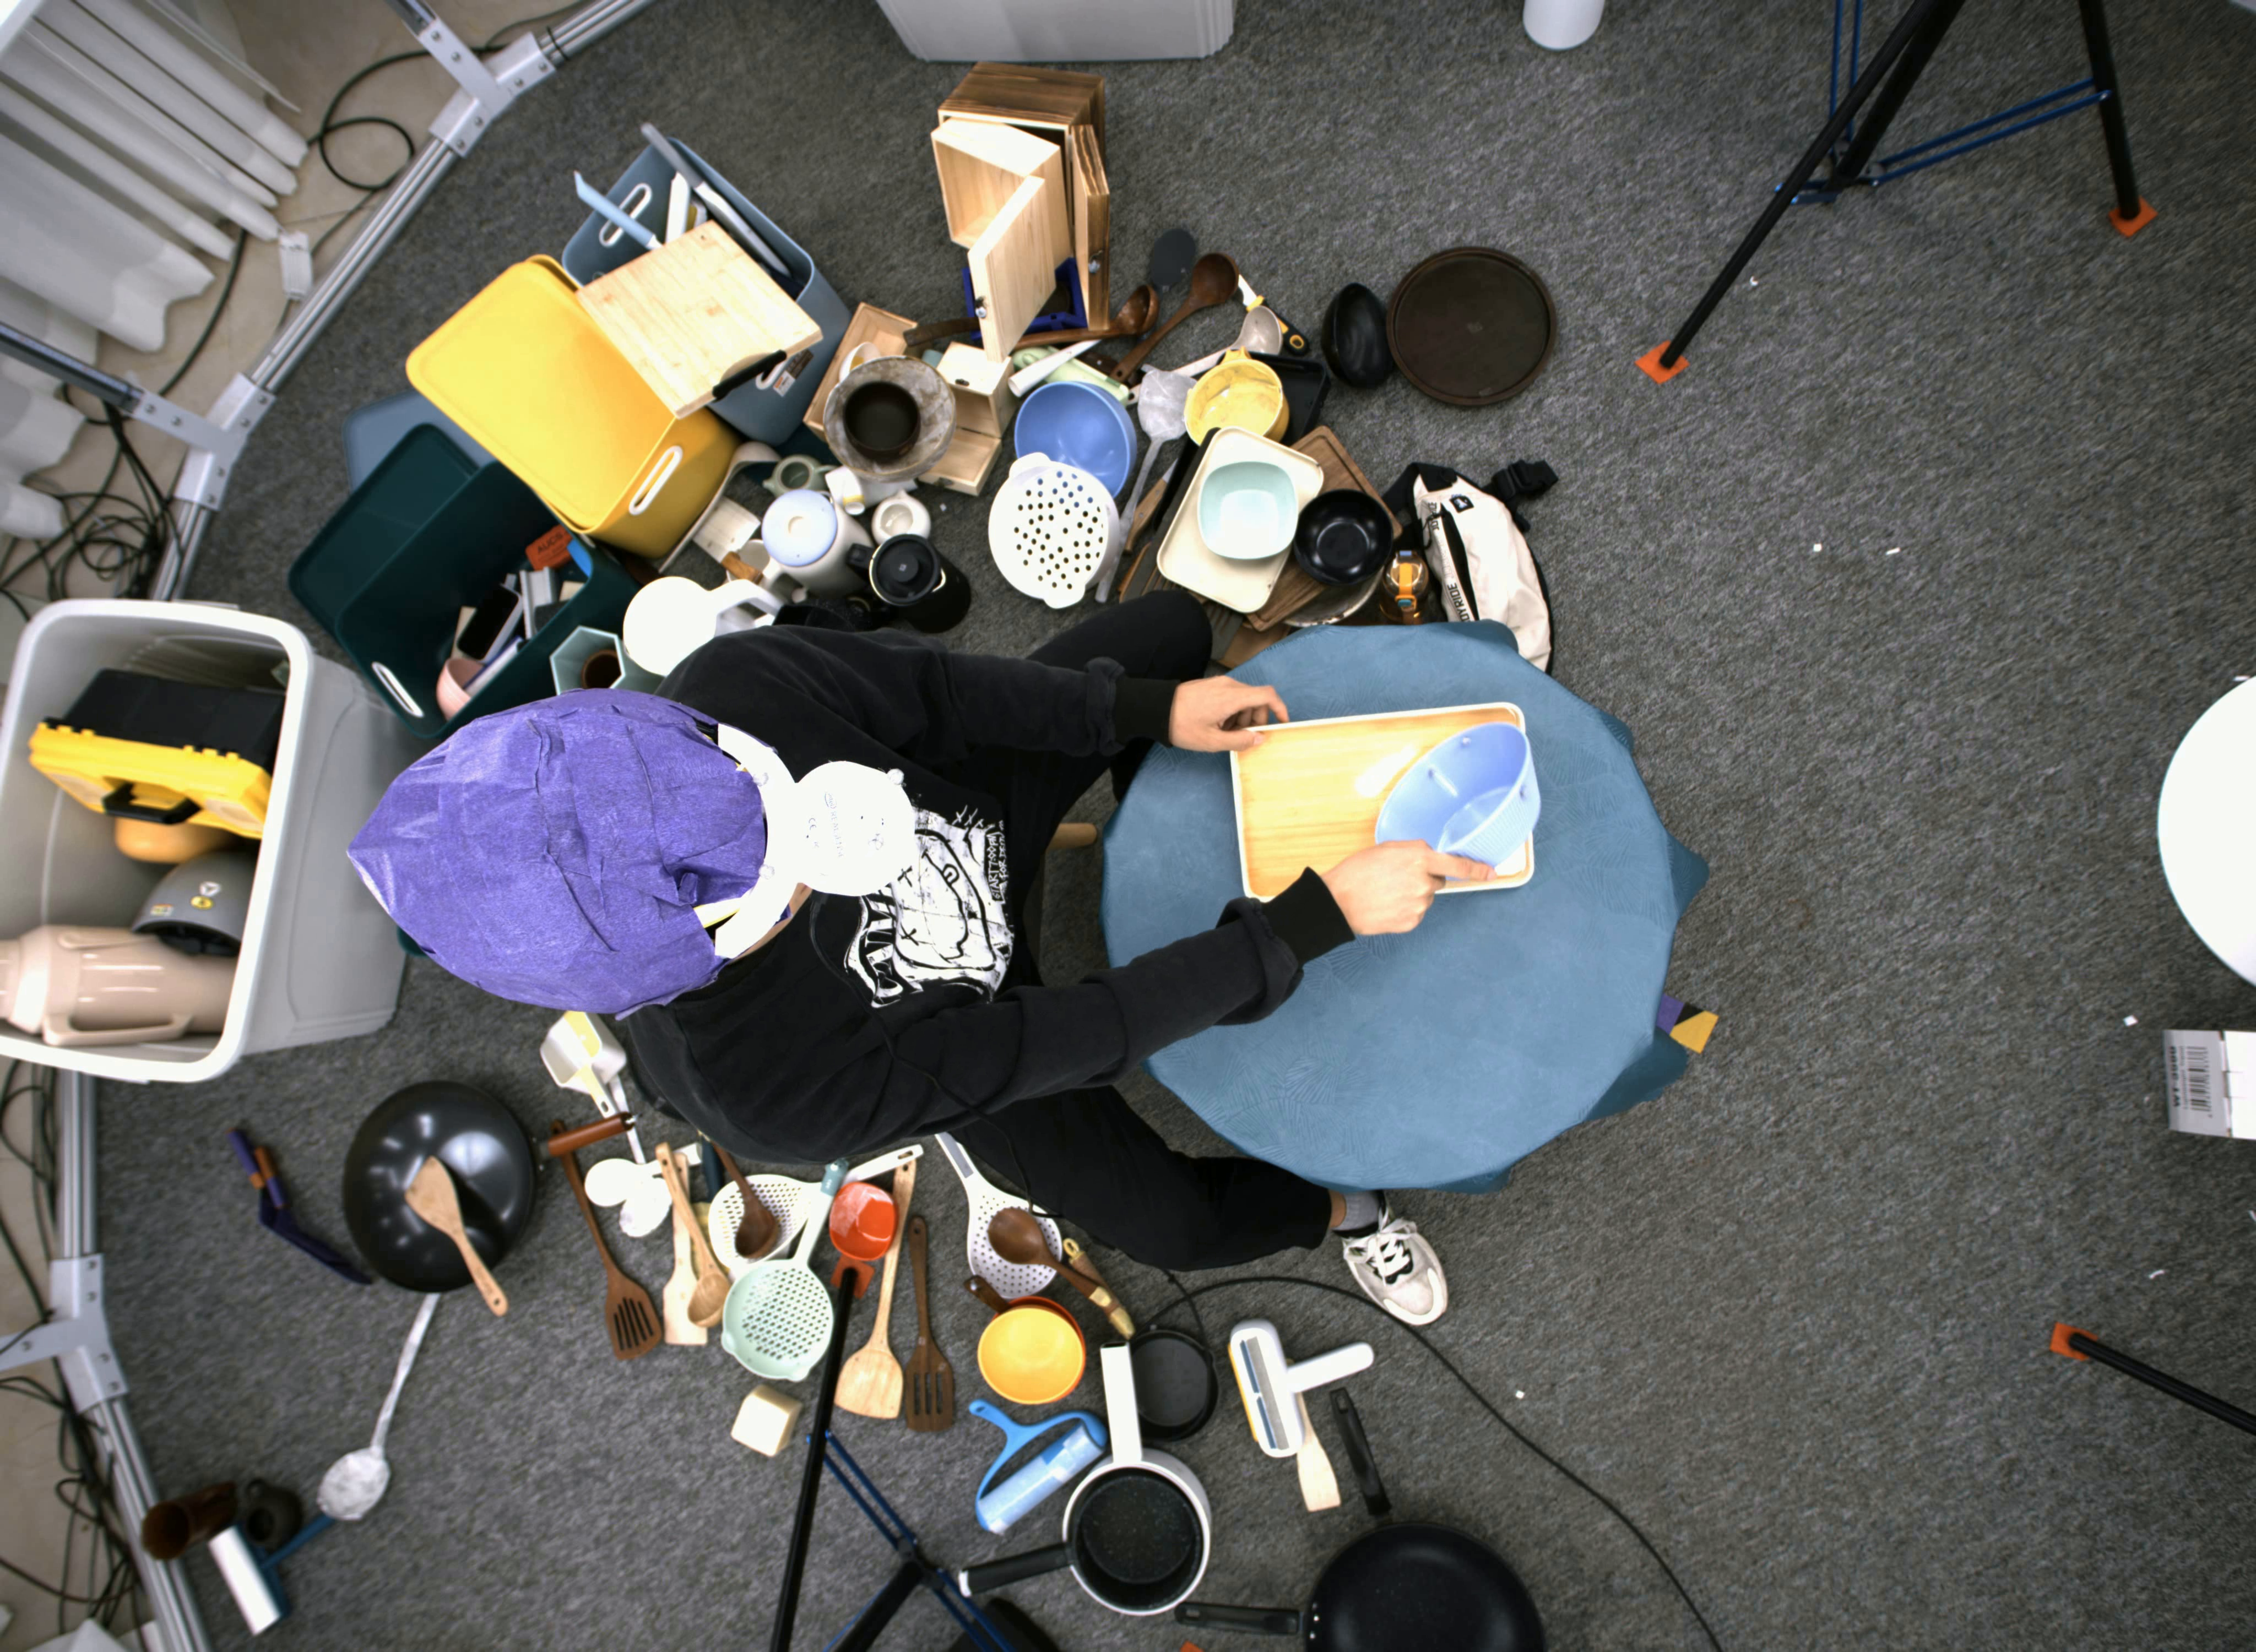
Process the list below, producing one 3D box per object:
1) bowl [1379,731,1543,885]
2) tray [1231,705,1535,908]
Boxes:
[{"bbox_3d":[0.331,-0.009,1.326,0.176,0.174,0.071,-44,111,3],"label":"bowl"},{"bbox_3d":[0.265,-0.021,1.435,0.301,0.027,0.193,-5,101,10],"label":"tray"}]
